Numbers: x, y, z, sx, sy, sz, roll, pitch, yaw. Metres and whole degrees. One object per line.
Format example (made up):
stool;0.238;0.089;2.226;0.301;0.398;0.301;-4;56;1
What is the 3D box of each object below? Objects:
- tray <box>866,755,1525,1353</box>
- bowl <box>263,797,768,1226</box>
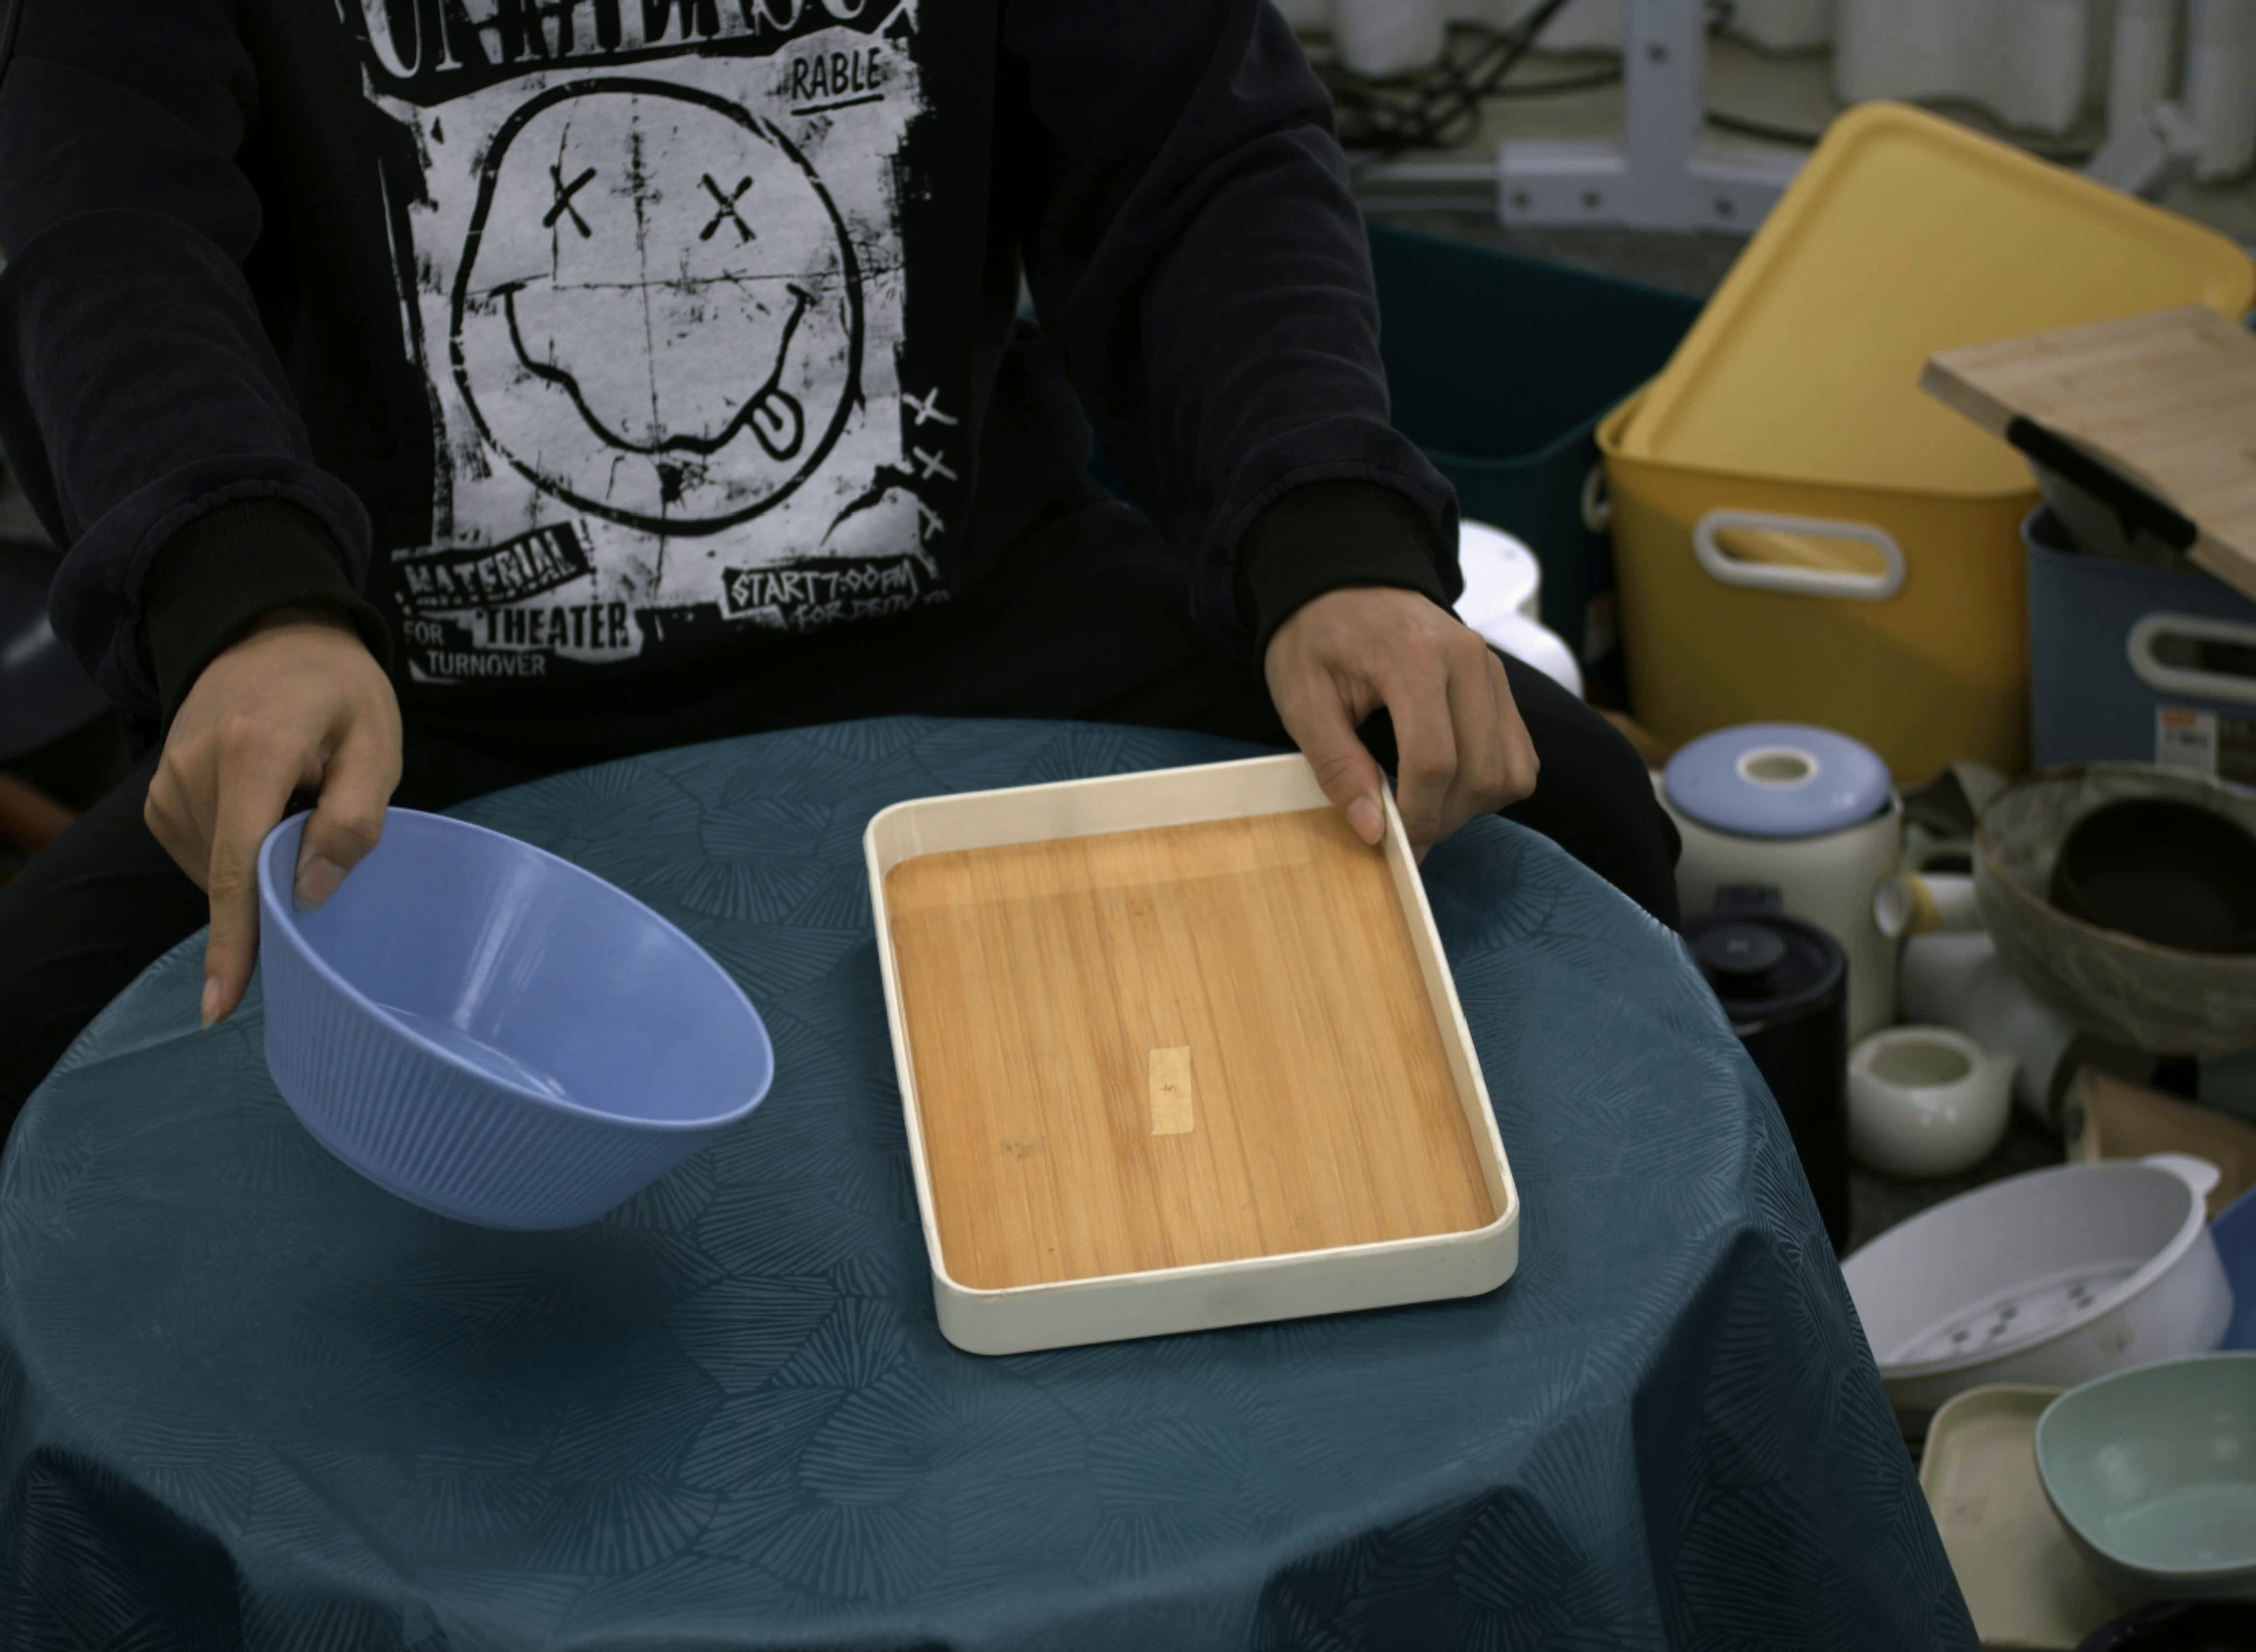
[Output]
tray;0.017;0.071;1.901;0.191;0.027;0.305;-6;32;-5
bowl;-0.206;0.067;1.773;0.175;0.069;0.178;28;18;-9
